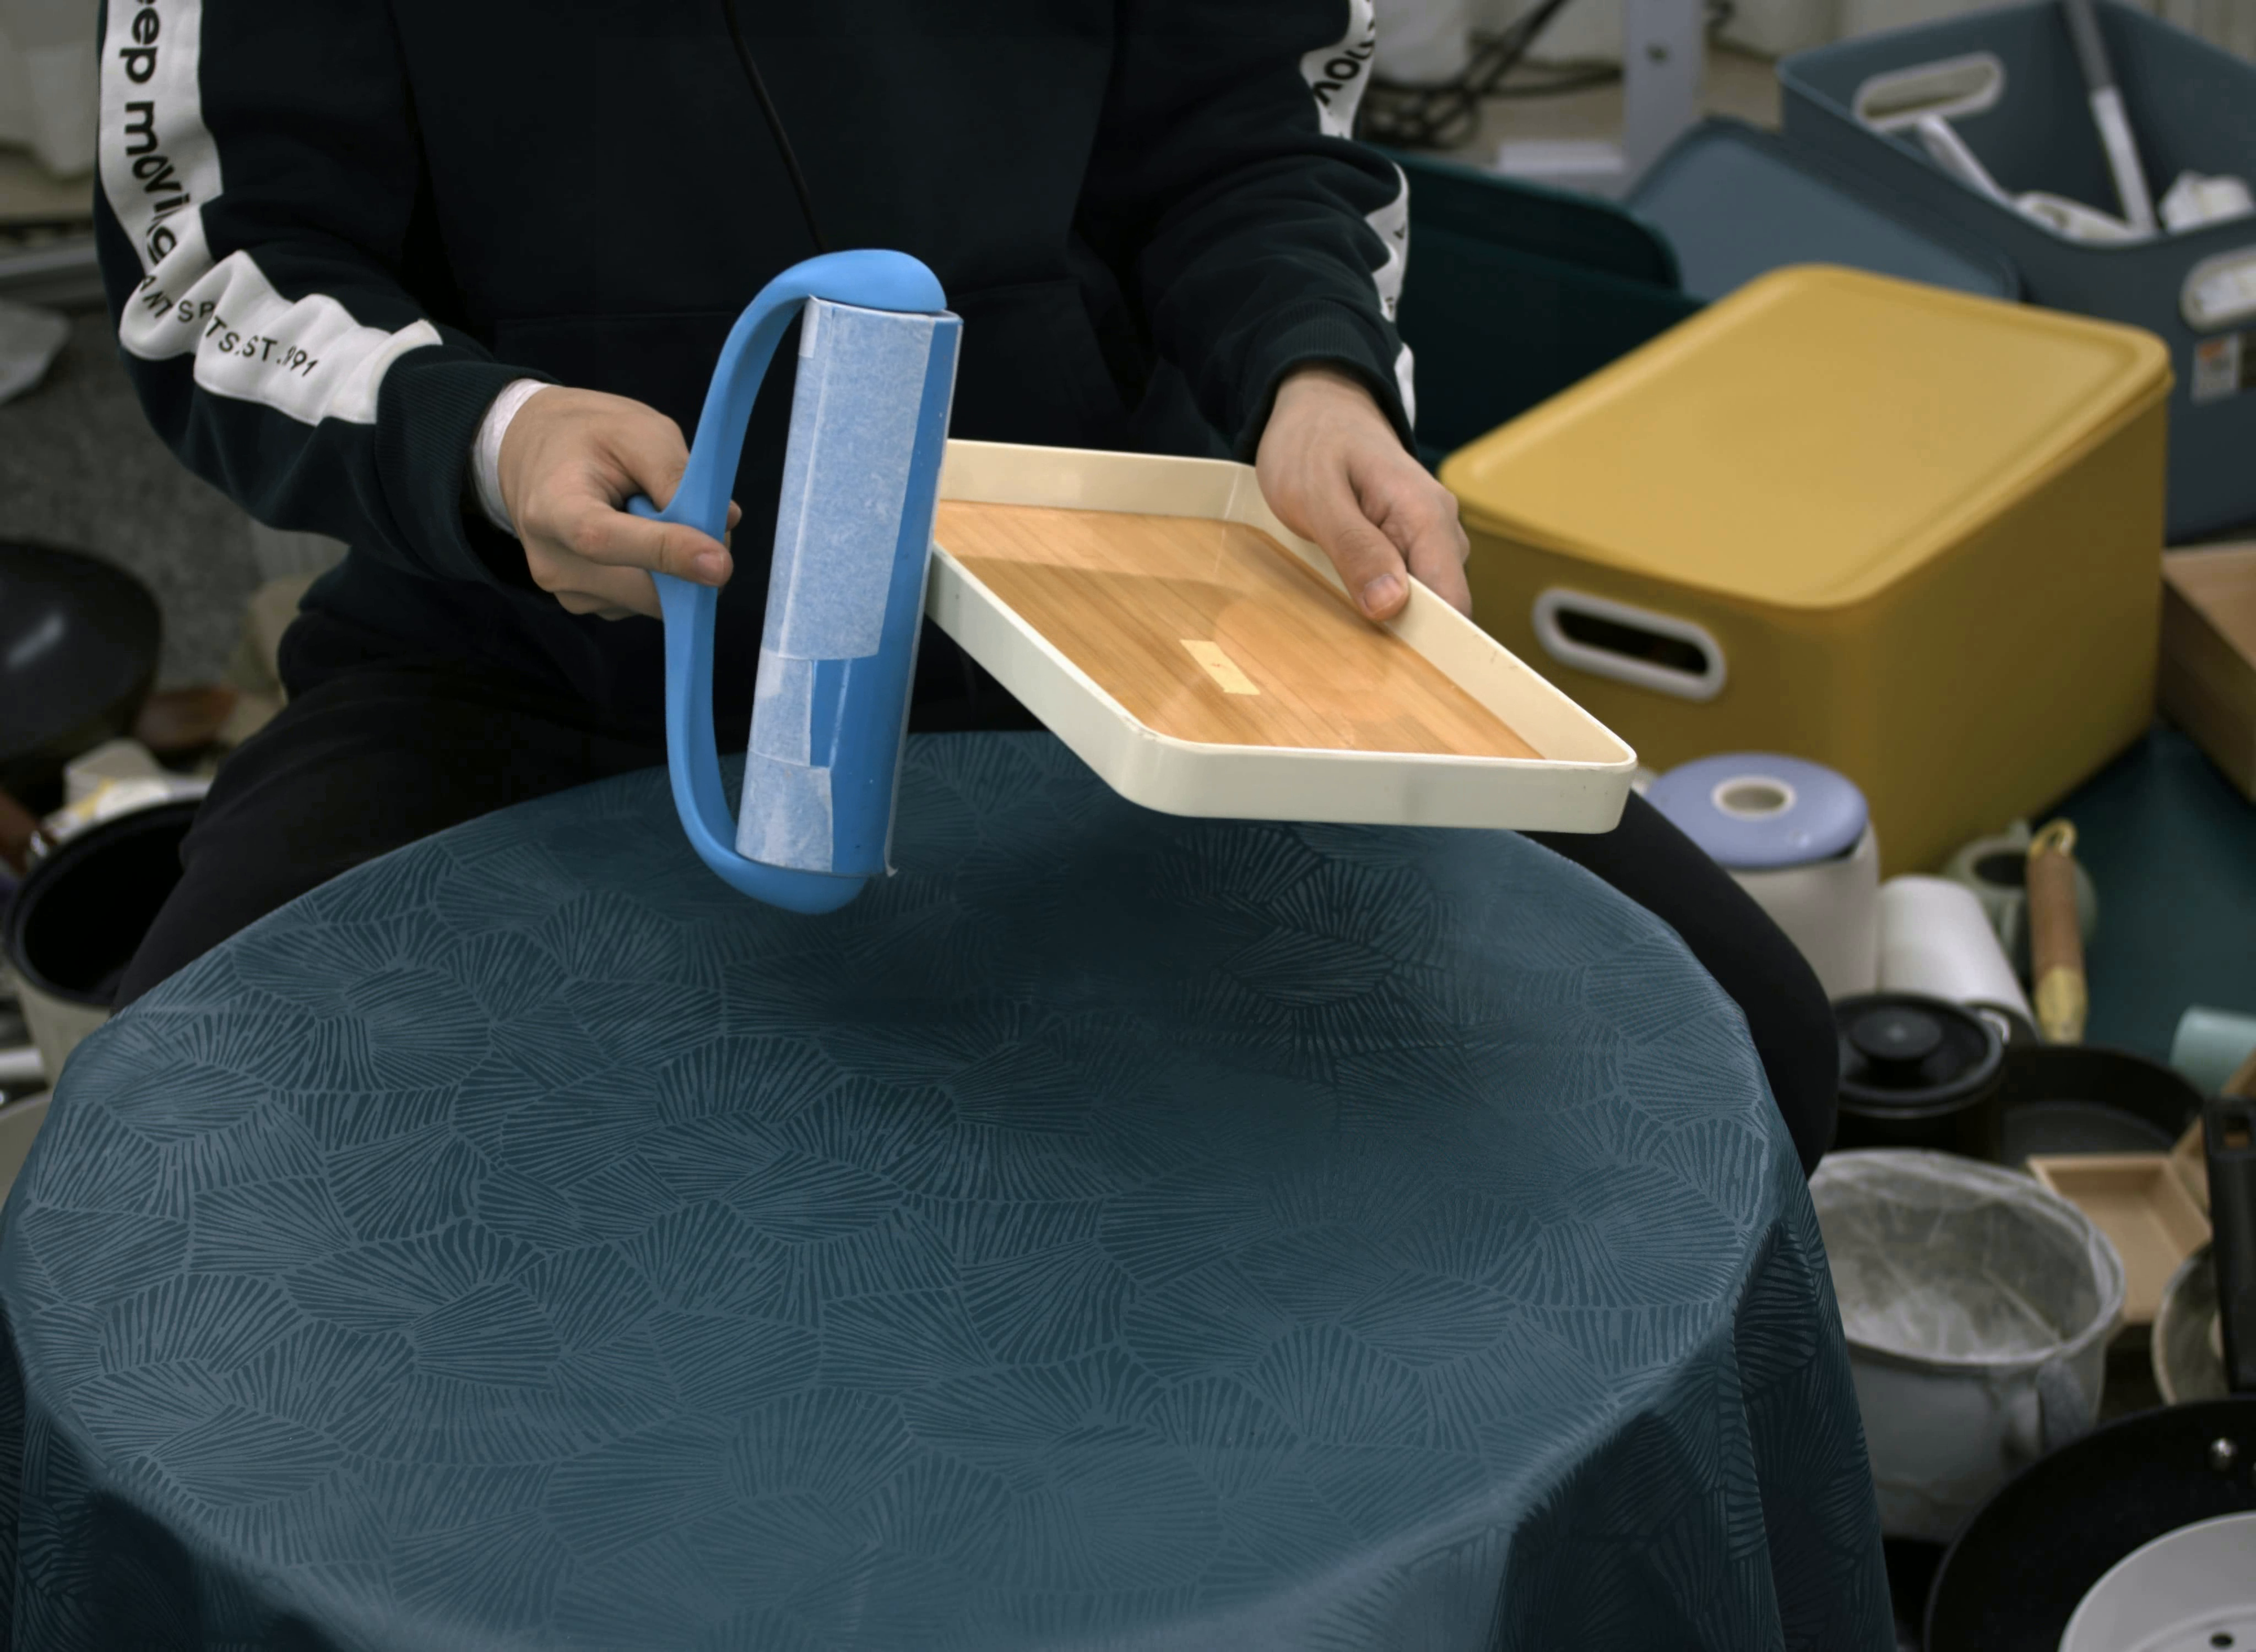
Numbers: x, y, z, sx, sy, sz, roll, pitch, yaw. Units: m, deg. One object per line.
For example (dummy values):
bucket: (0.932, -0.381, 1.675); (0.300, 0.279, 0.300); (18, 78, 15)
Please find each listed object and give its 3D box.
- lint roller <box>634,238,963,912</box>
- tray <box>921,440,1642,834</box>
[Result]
lint roller: (-0.132, -0.092, 1.951); (0.068, 0.229, 0.179); (-2, 8, -42)
tray: (0.029, -0.068, 1.939); (0.192, 0.027, 0.302); (3, 21, -28)
